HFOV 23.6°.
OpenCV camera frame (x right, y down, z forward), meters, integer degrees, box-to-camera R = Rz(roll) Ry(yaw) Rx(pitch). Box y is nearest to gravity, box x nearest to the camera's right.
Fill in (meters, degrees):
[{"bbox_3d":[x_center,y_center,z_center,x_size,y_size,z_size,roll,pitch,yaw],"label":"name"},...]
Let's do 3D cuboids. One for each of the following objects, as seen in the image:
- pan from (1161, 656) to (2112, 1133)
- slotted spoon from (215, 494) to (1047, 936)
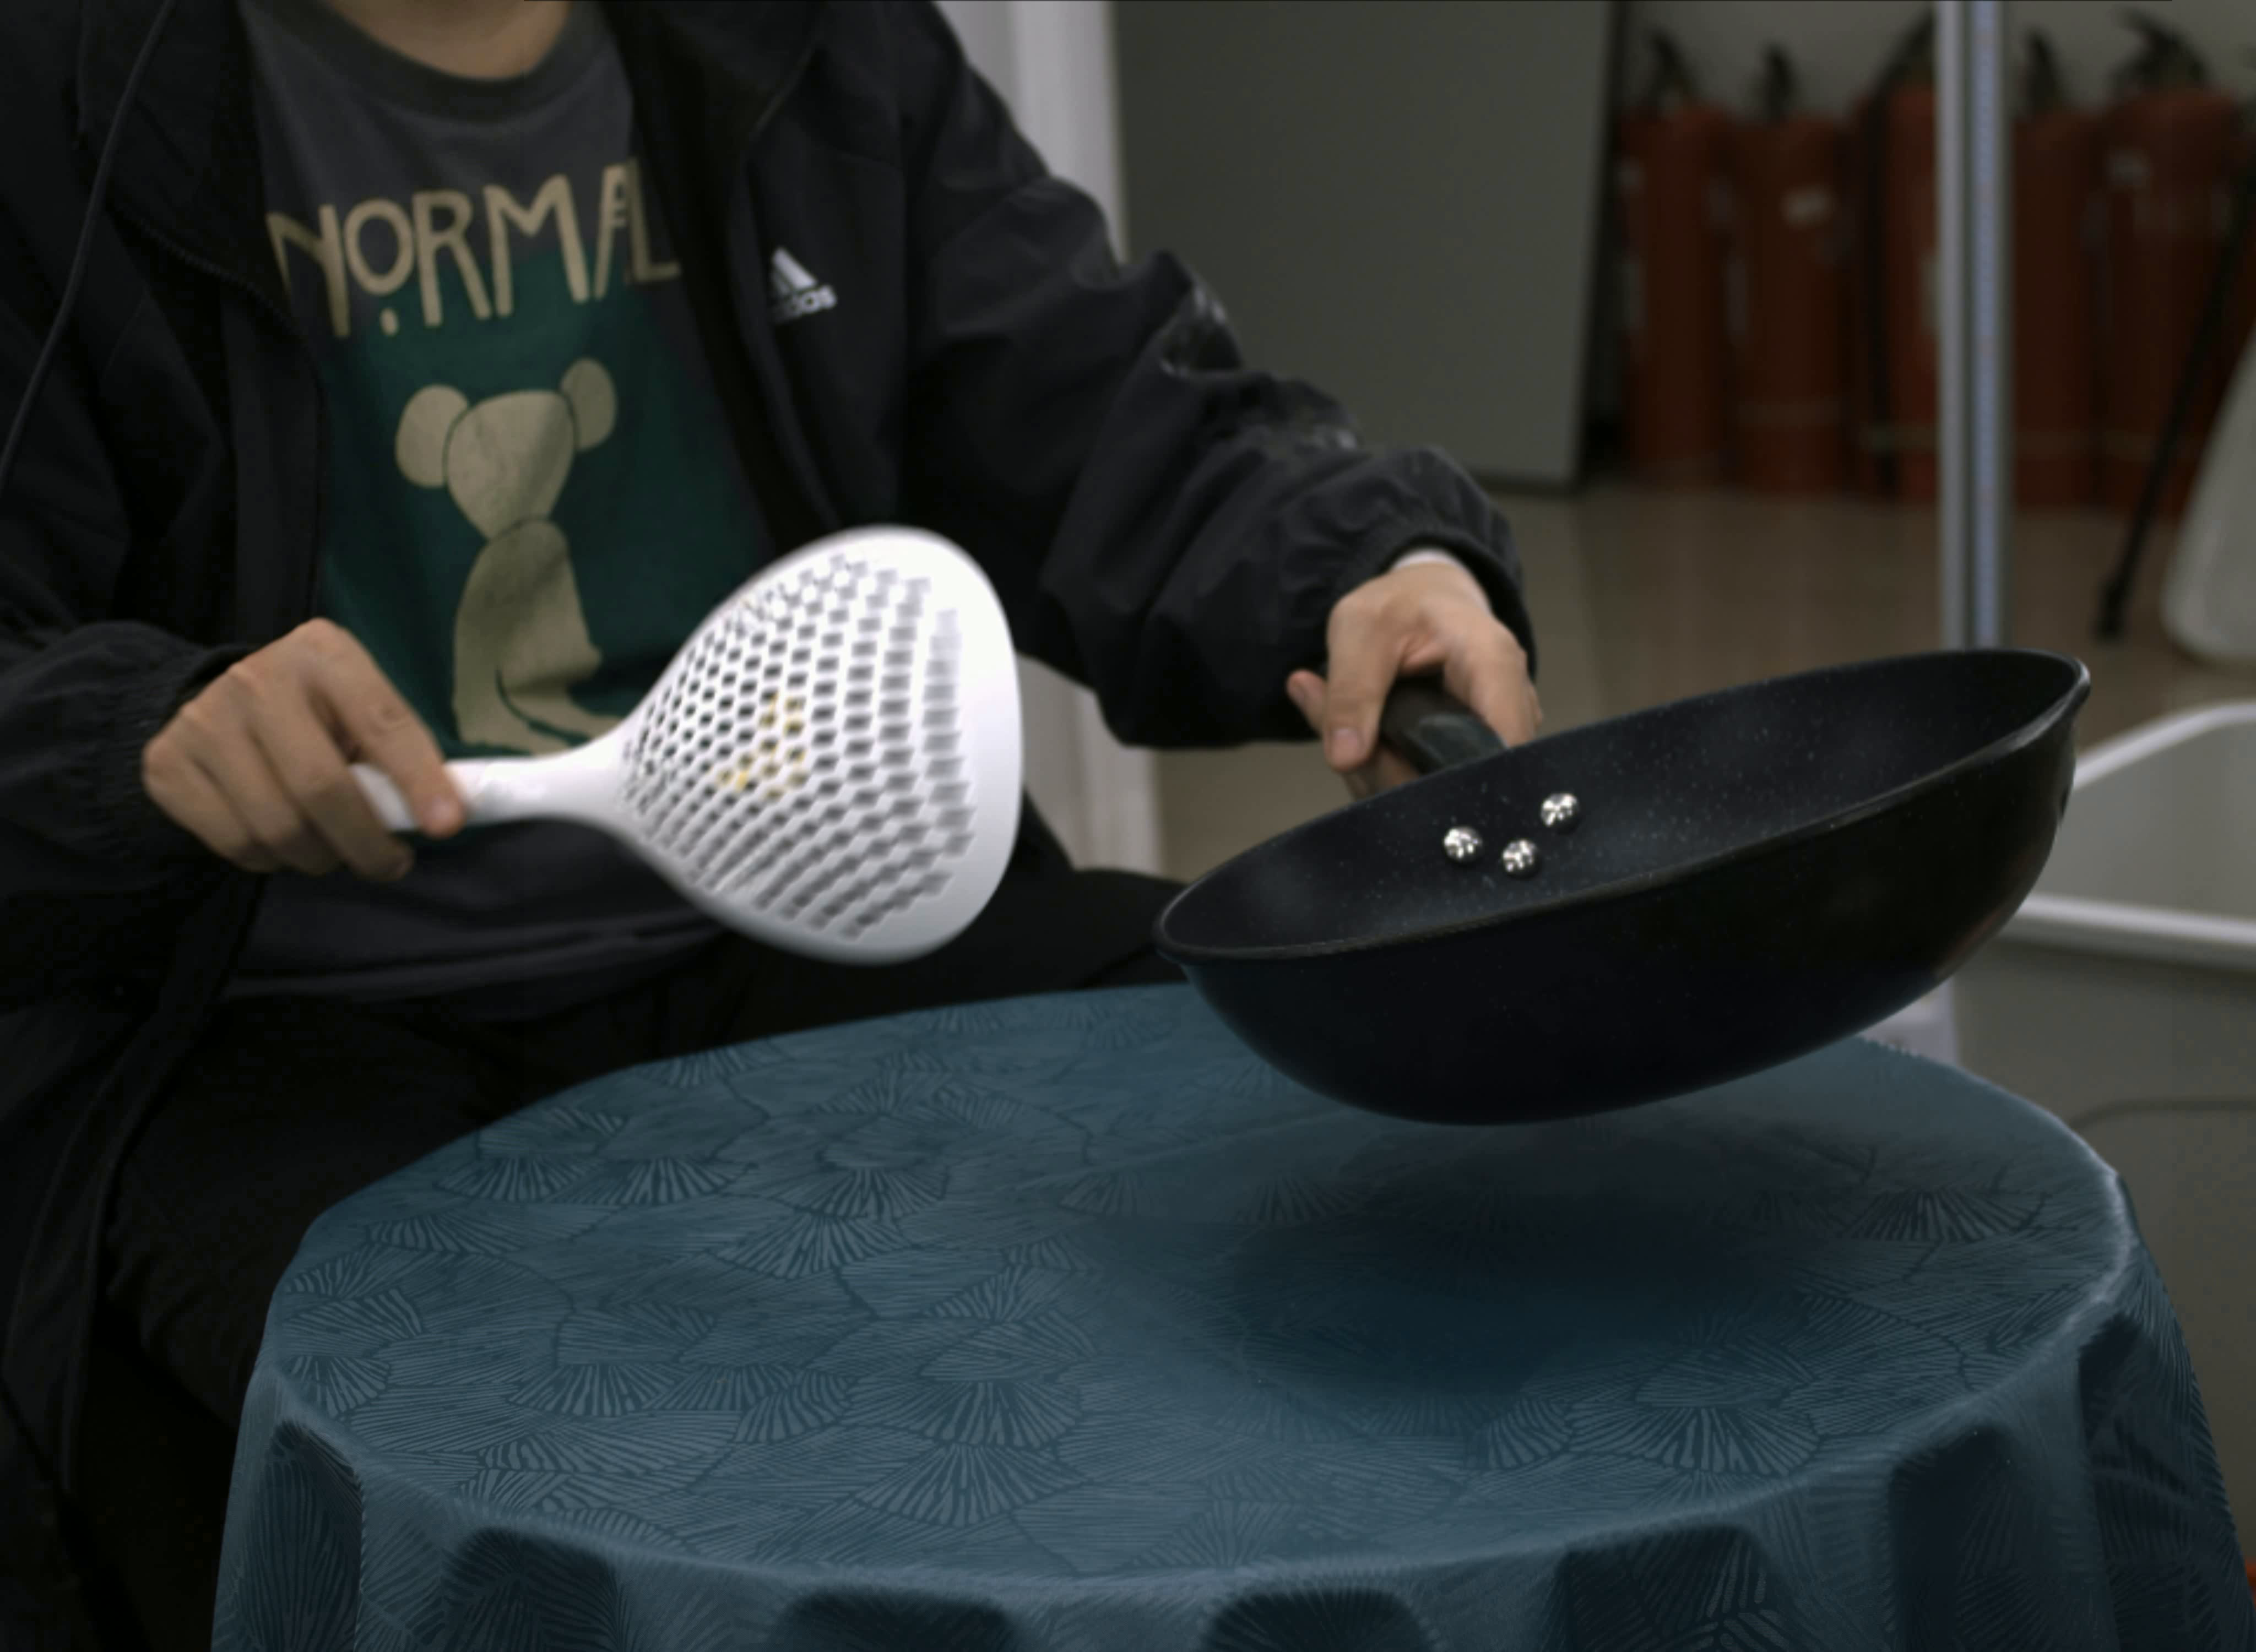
[{"bbox_3d":[0.147,0.012,1.779,0.305,0.113,0.479,-17,8,-10],"label":"pan"},{"bbox_3d":[-0.168,-0.021,1.756,0.351,0.138,0.049,-8,-2,43],"label":"slotted spoon"}]
